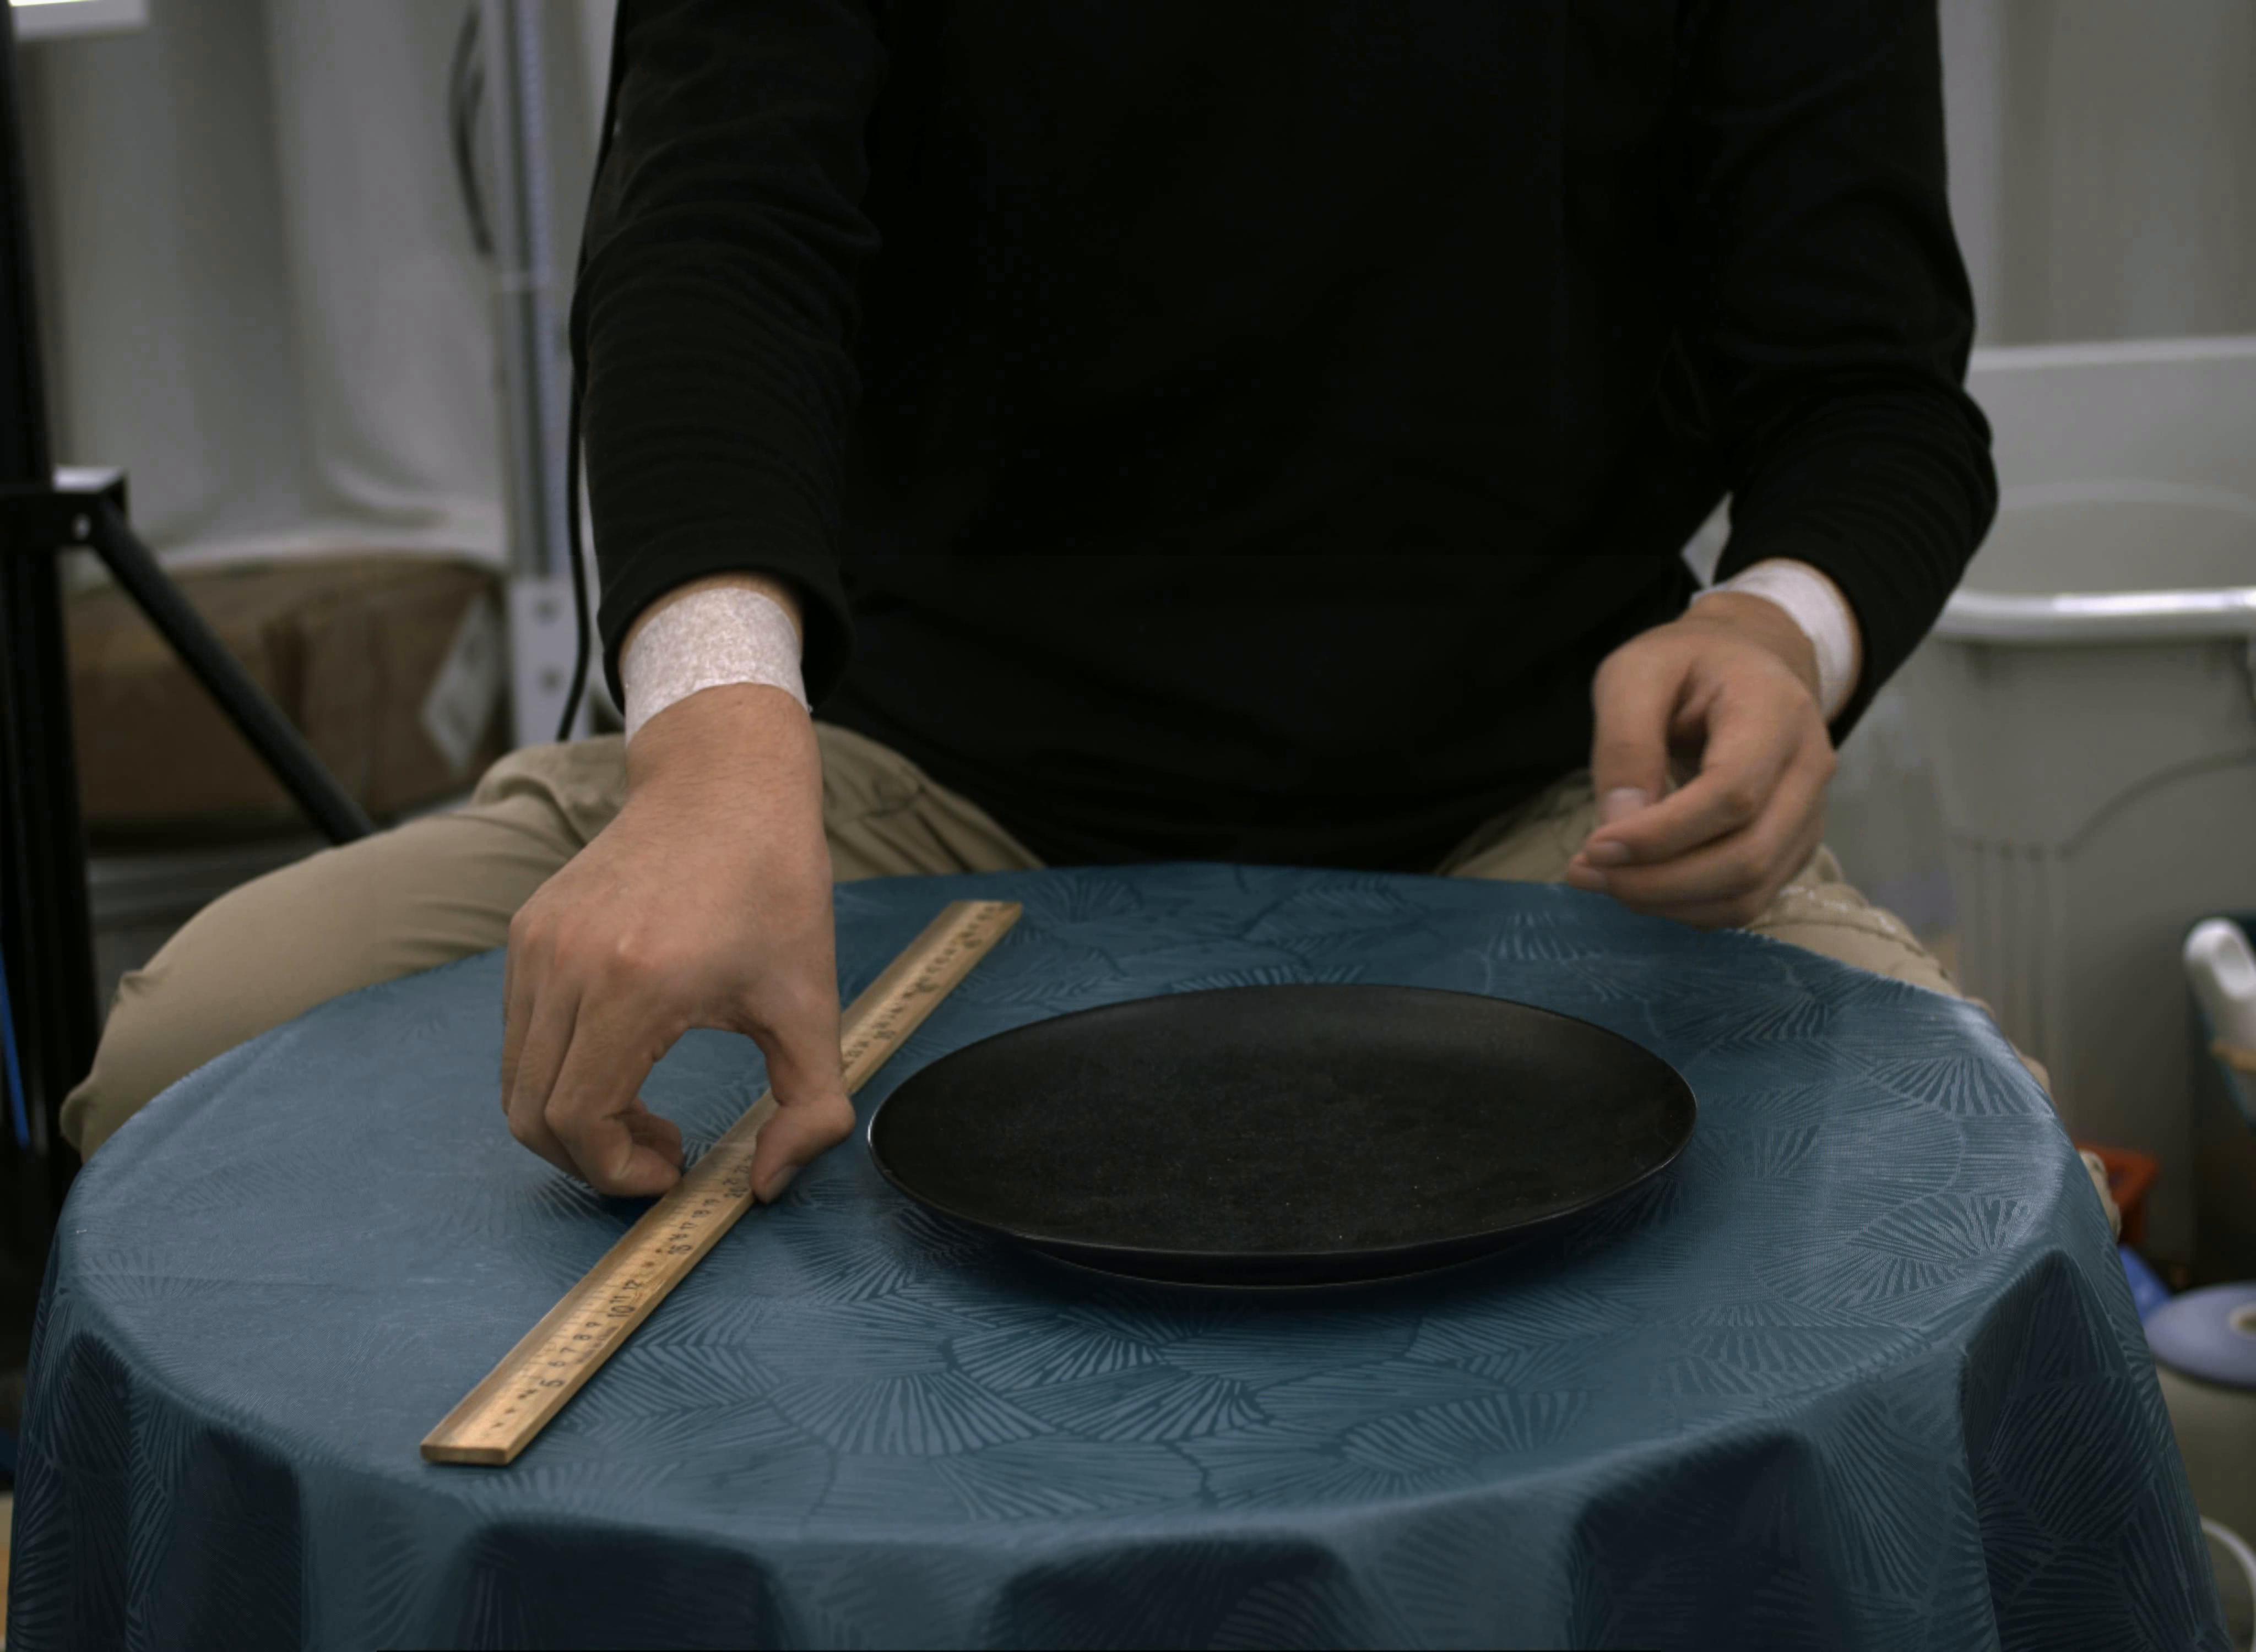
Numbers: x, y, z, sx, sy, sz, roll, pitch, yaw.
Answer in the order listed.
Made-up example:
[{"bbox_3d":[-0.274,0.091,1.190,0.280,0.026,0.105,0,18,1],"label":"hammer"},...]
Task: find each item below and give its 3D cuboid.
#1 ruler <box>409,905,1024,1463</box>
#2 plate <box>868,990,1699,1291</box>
[{"bbox_3d":[-0.110,0.096,1.606,0.027,0.006,0.496,3,16,15],"label":"ruler"},{"bbox_3d":[0.046,0.094,1.556,0.243,0.023,0.245,-3,16,-1],"label":"plate"}]
